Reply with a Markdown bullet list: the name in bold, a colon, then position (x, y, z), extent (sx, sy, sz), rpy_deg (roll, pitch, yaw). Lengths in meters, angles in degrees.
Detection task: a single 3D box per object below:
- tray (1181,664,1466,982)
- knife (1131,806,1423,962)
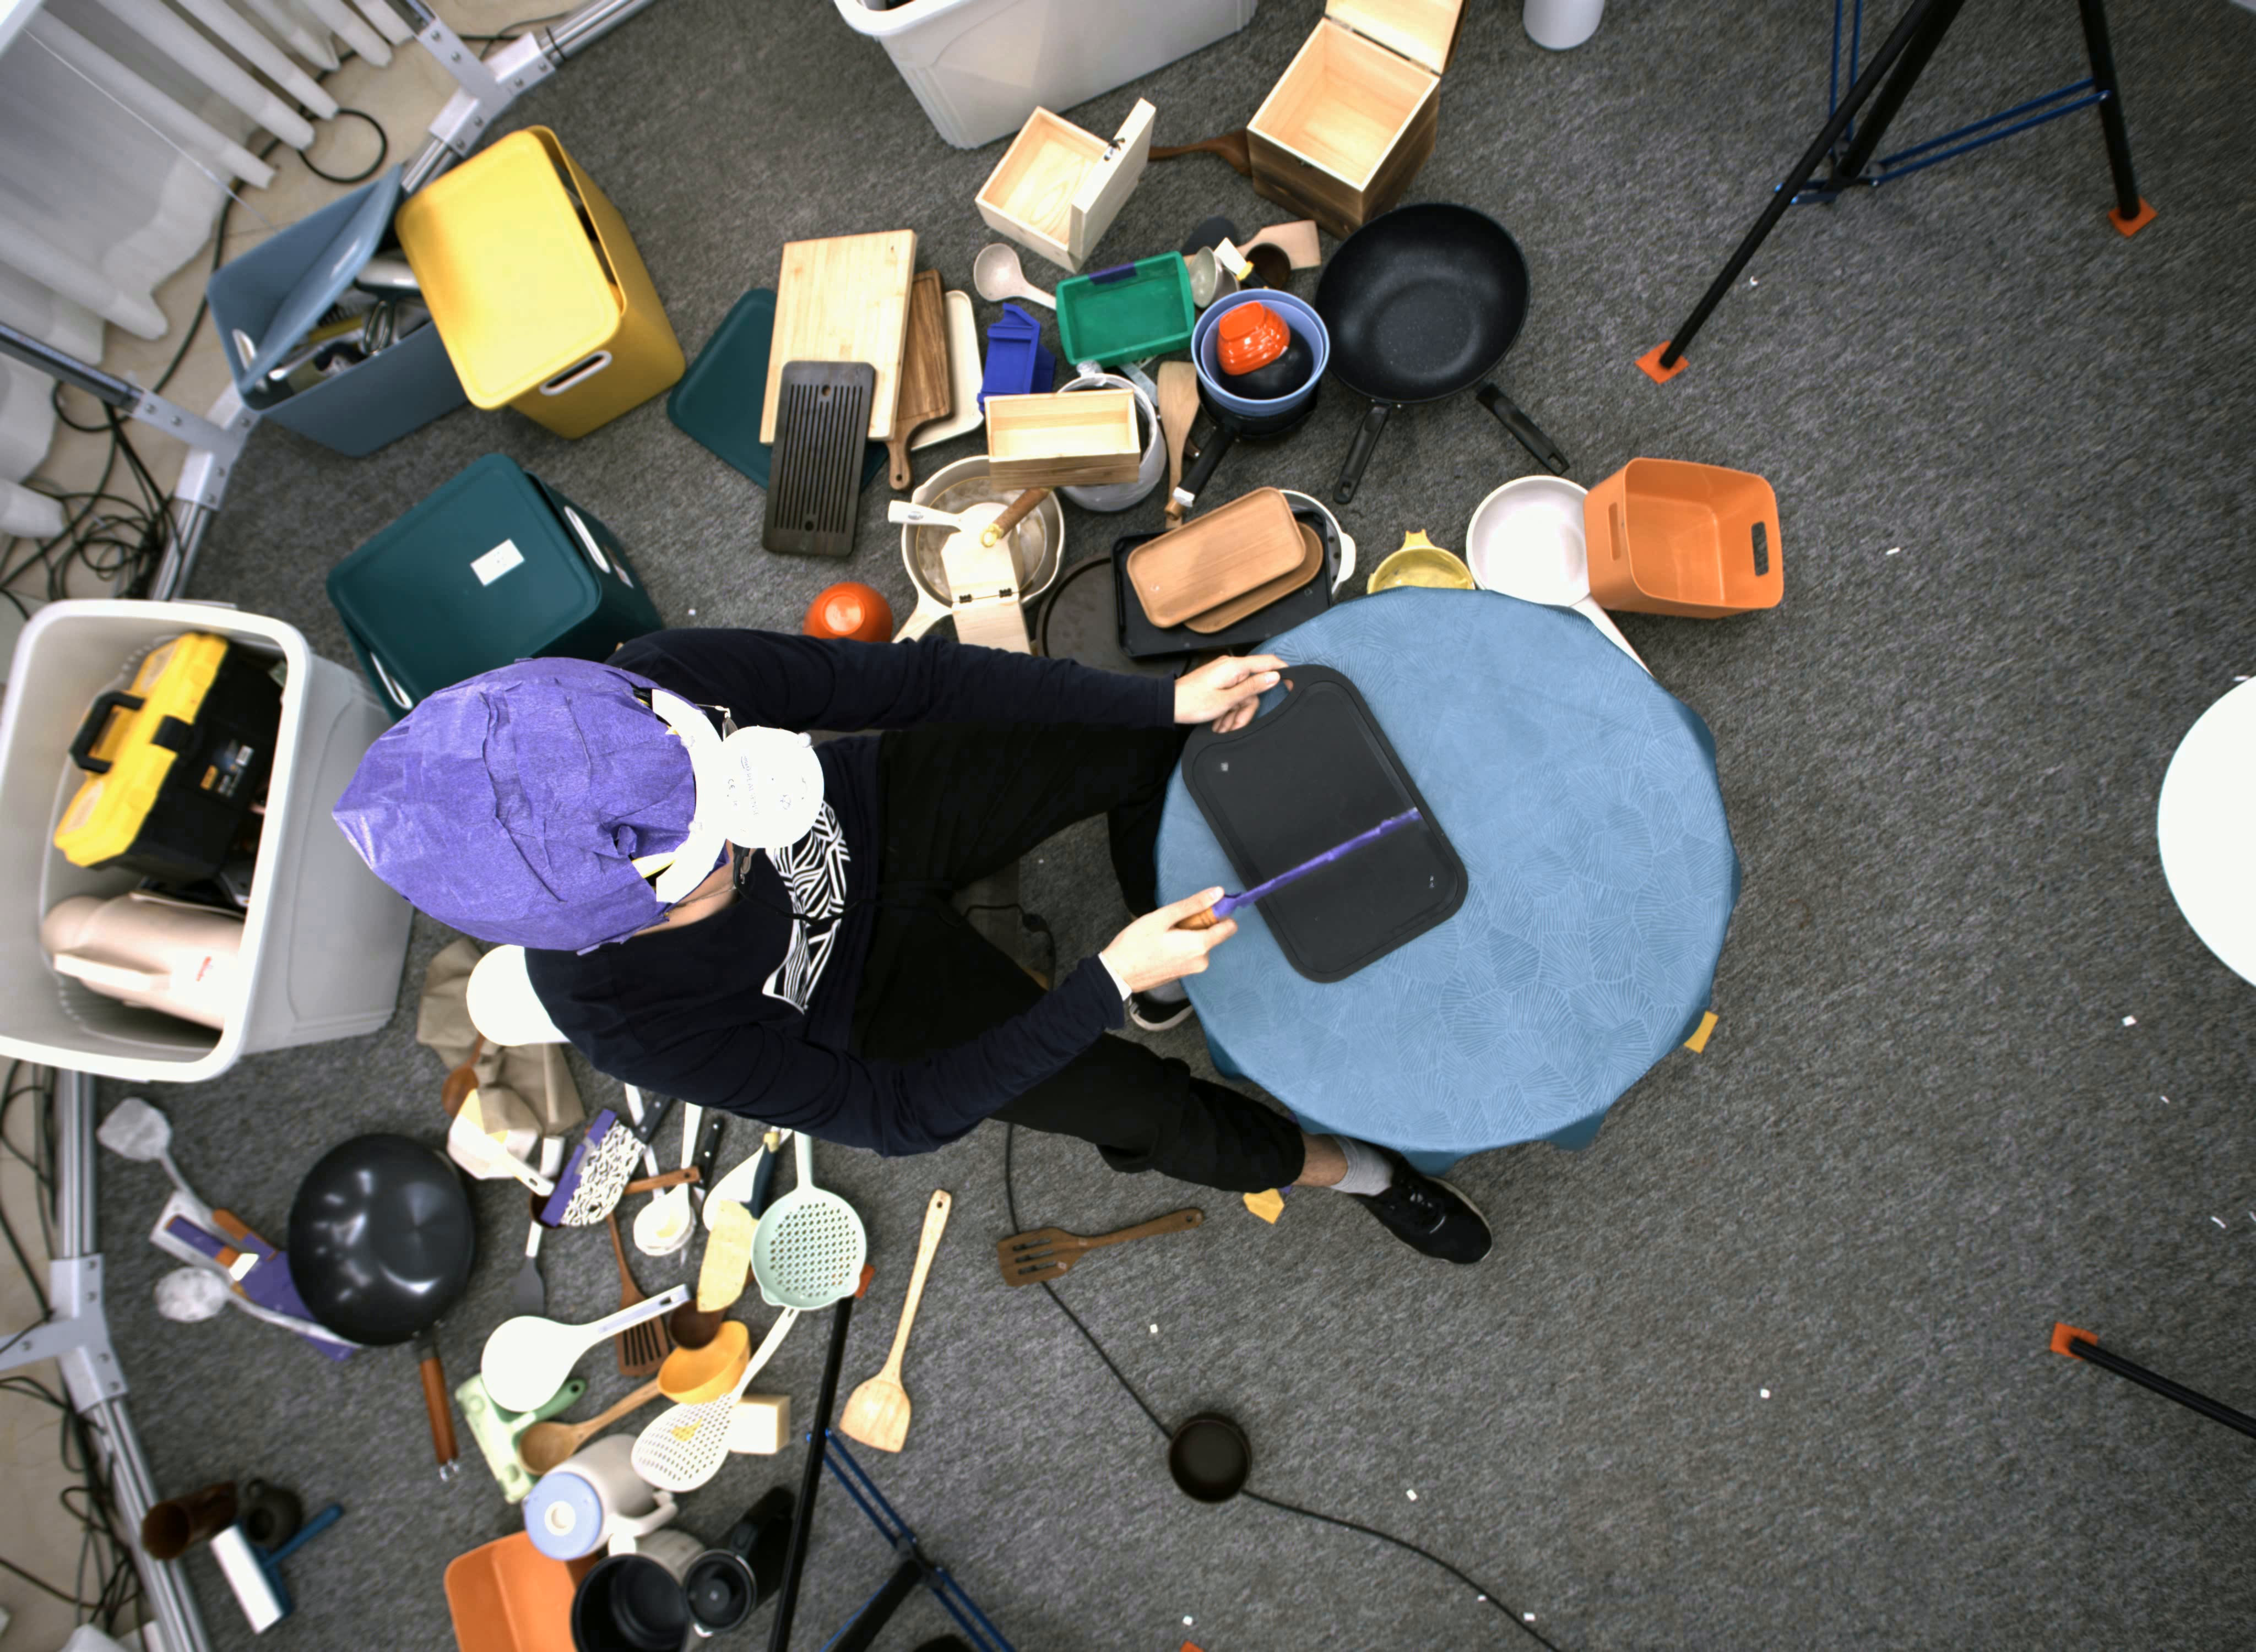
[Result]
- **tray**: position (0.200, -0.011, 1.462), extent (0.212, 0.010, 0.324), rpy_deg (-30, 87, 7)
- **knife**: position (0.154, 0.058, 1.390), extent (0.318, 0.104, 0.032), rpy_deg (-27, 78, 13)
